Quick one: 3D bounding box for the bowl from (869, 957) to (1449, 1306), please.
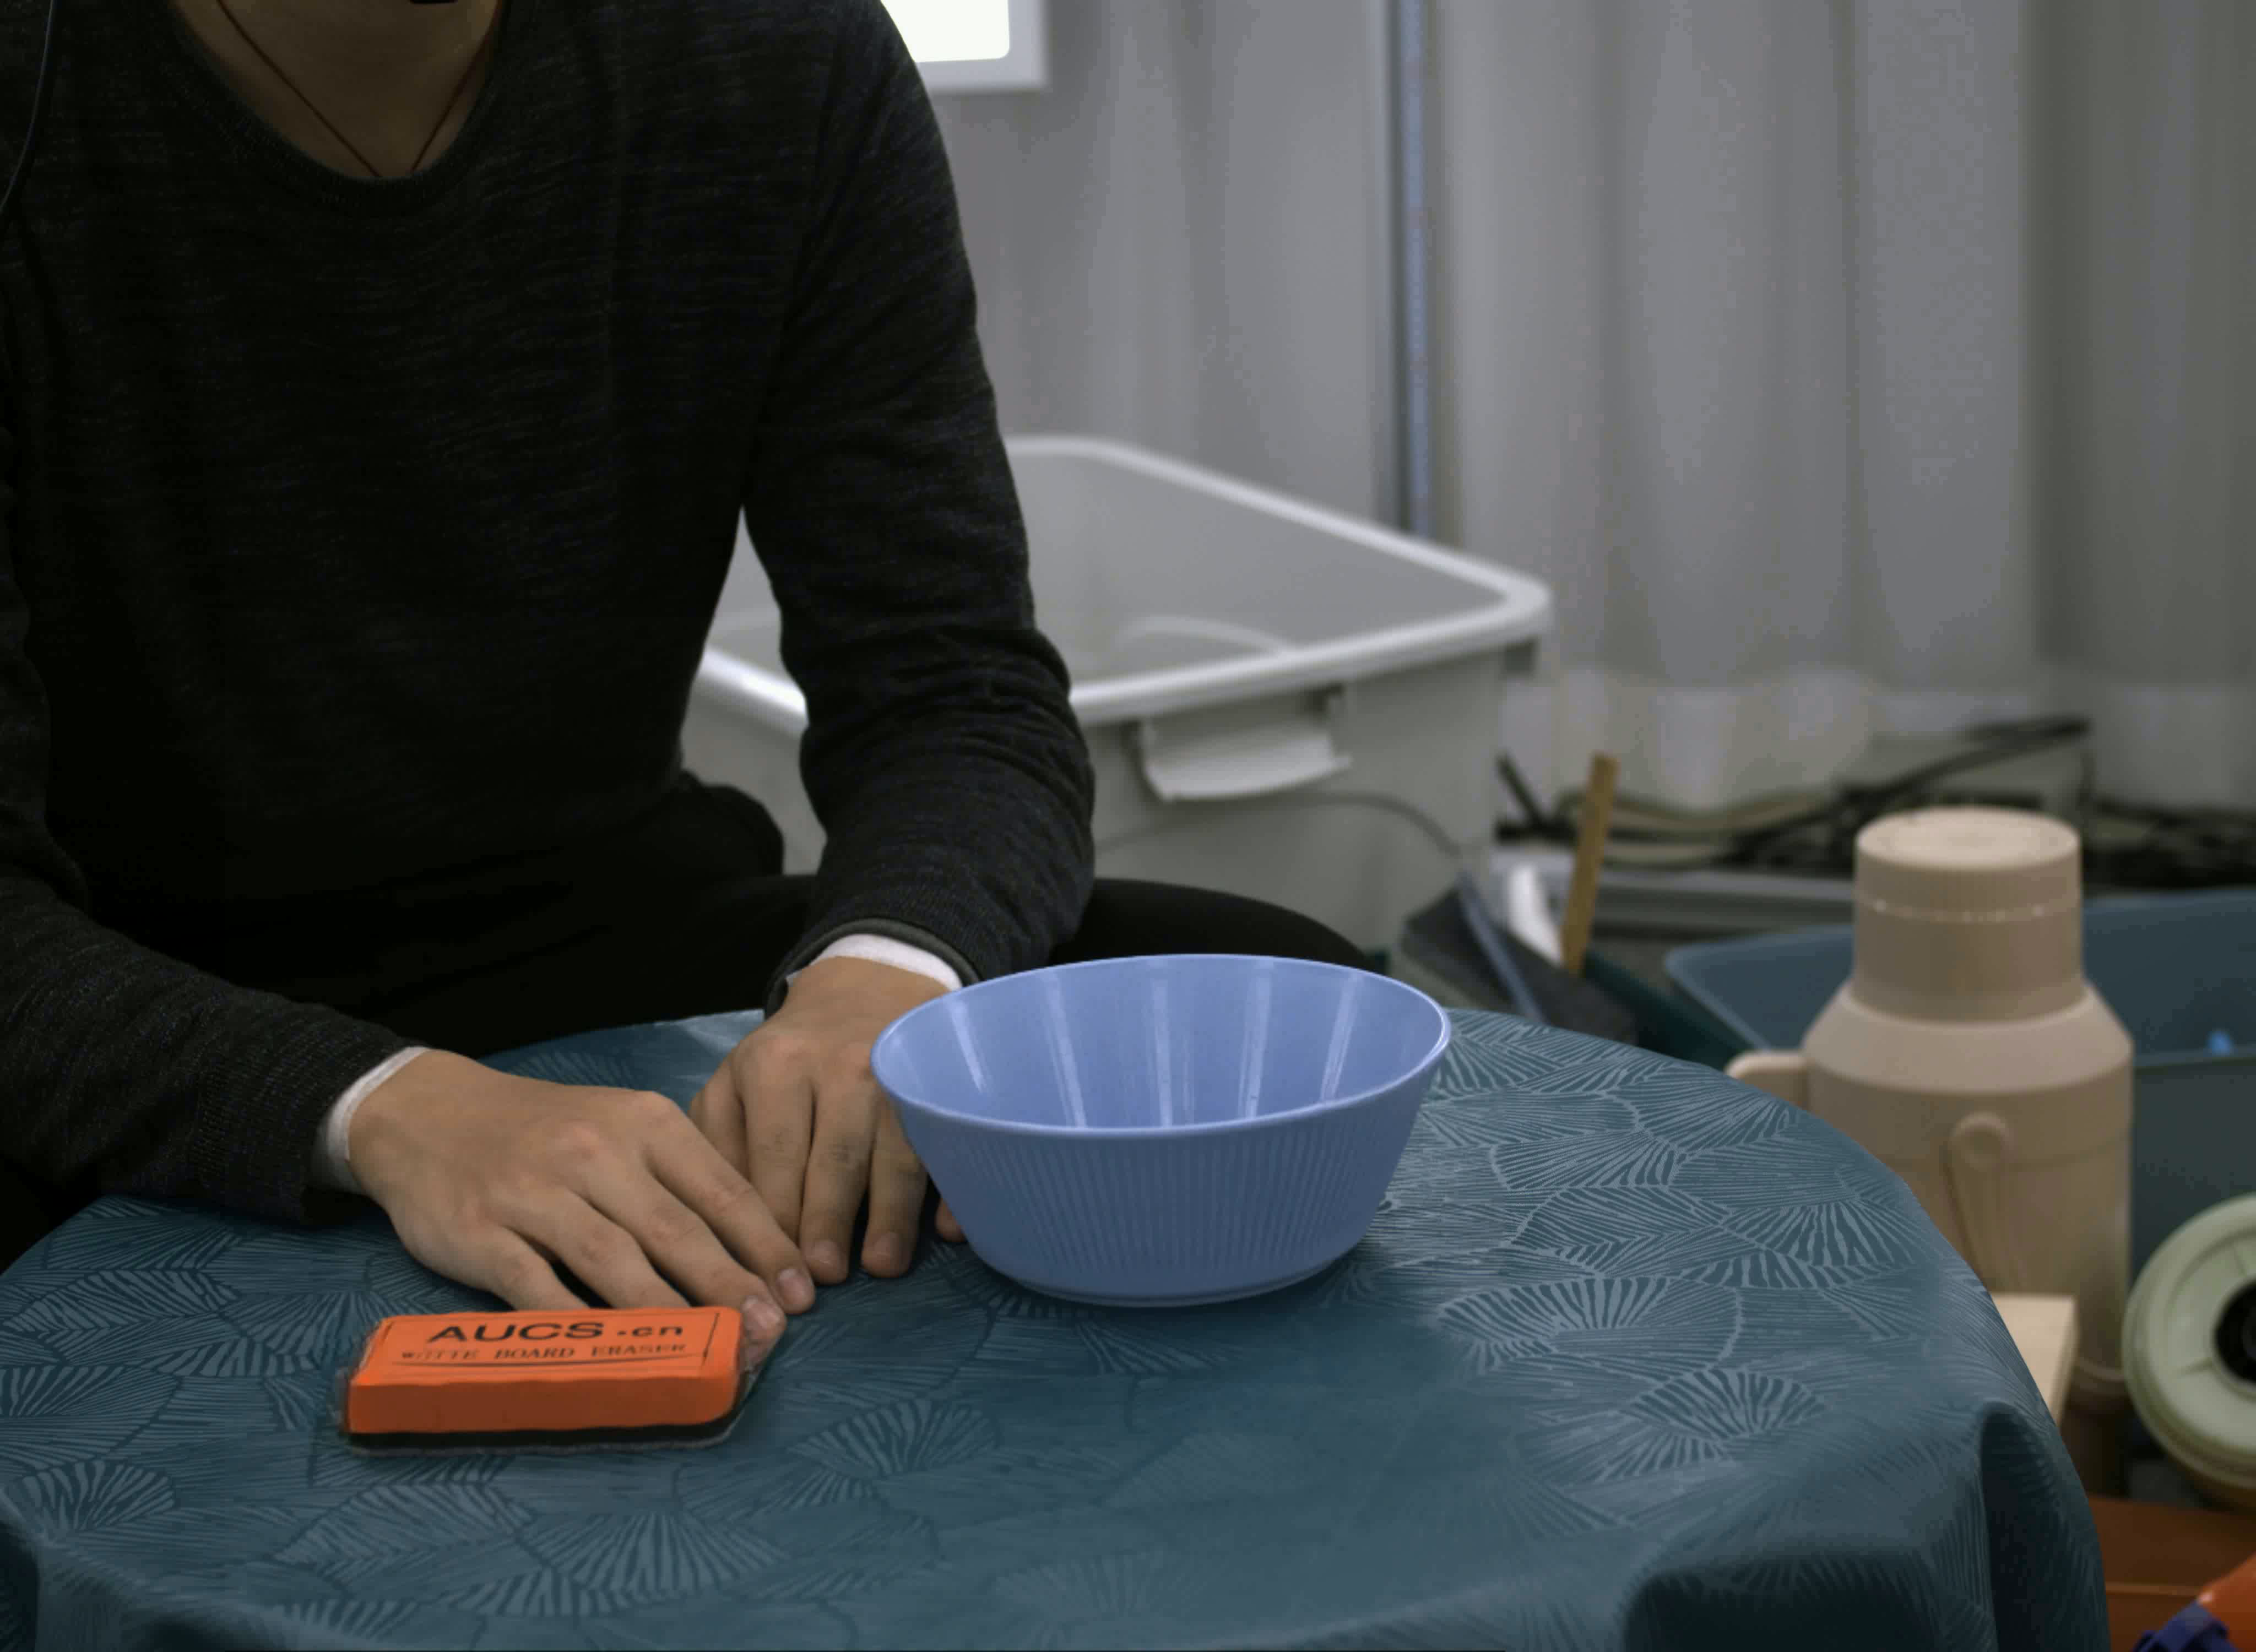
[{"bbox_3d":[0.011,0.095,1.653,0.175,0.070,0.177,-3,15,1],"label":"bowl"}]

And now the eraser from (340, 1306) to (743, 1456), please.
[{"bbox_3d":[-0.164,0.157,1.542,0.108,0.023,0.059,-2,16,5],"label":"eraser"}]
